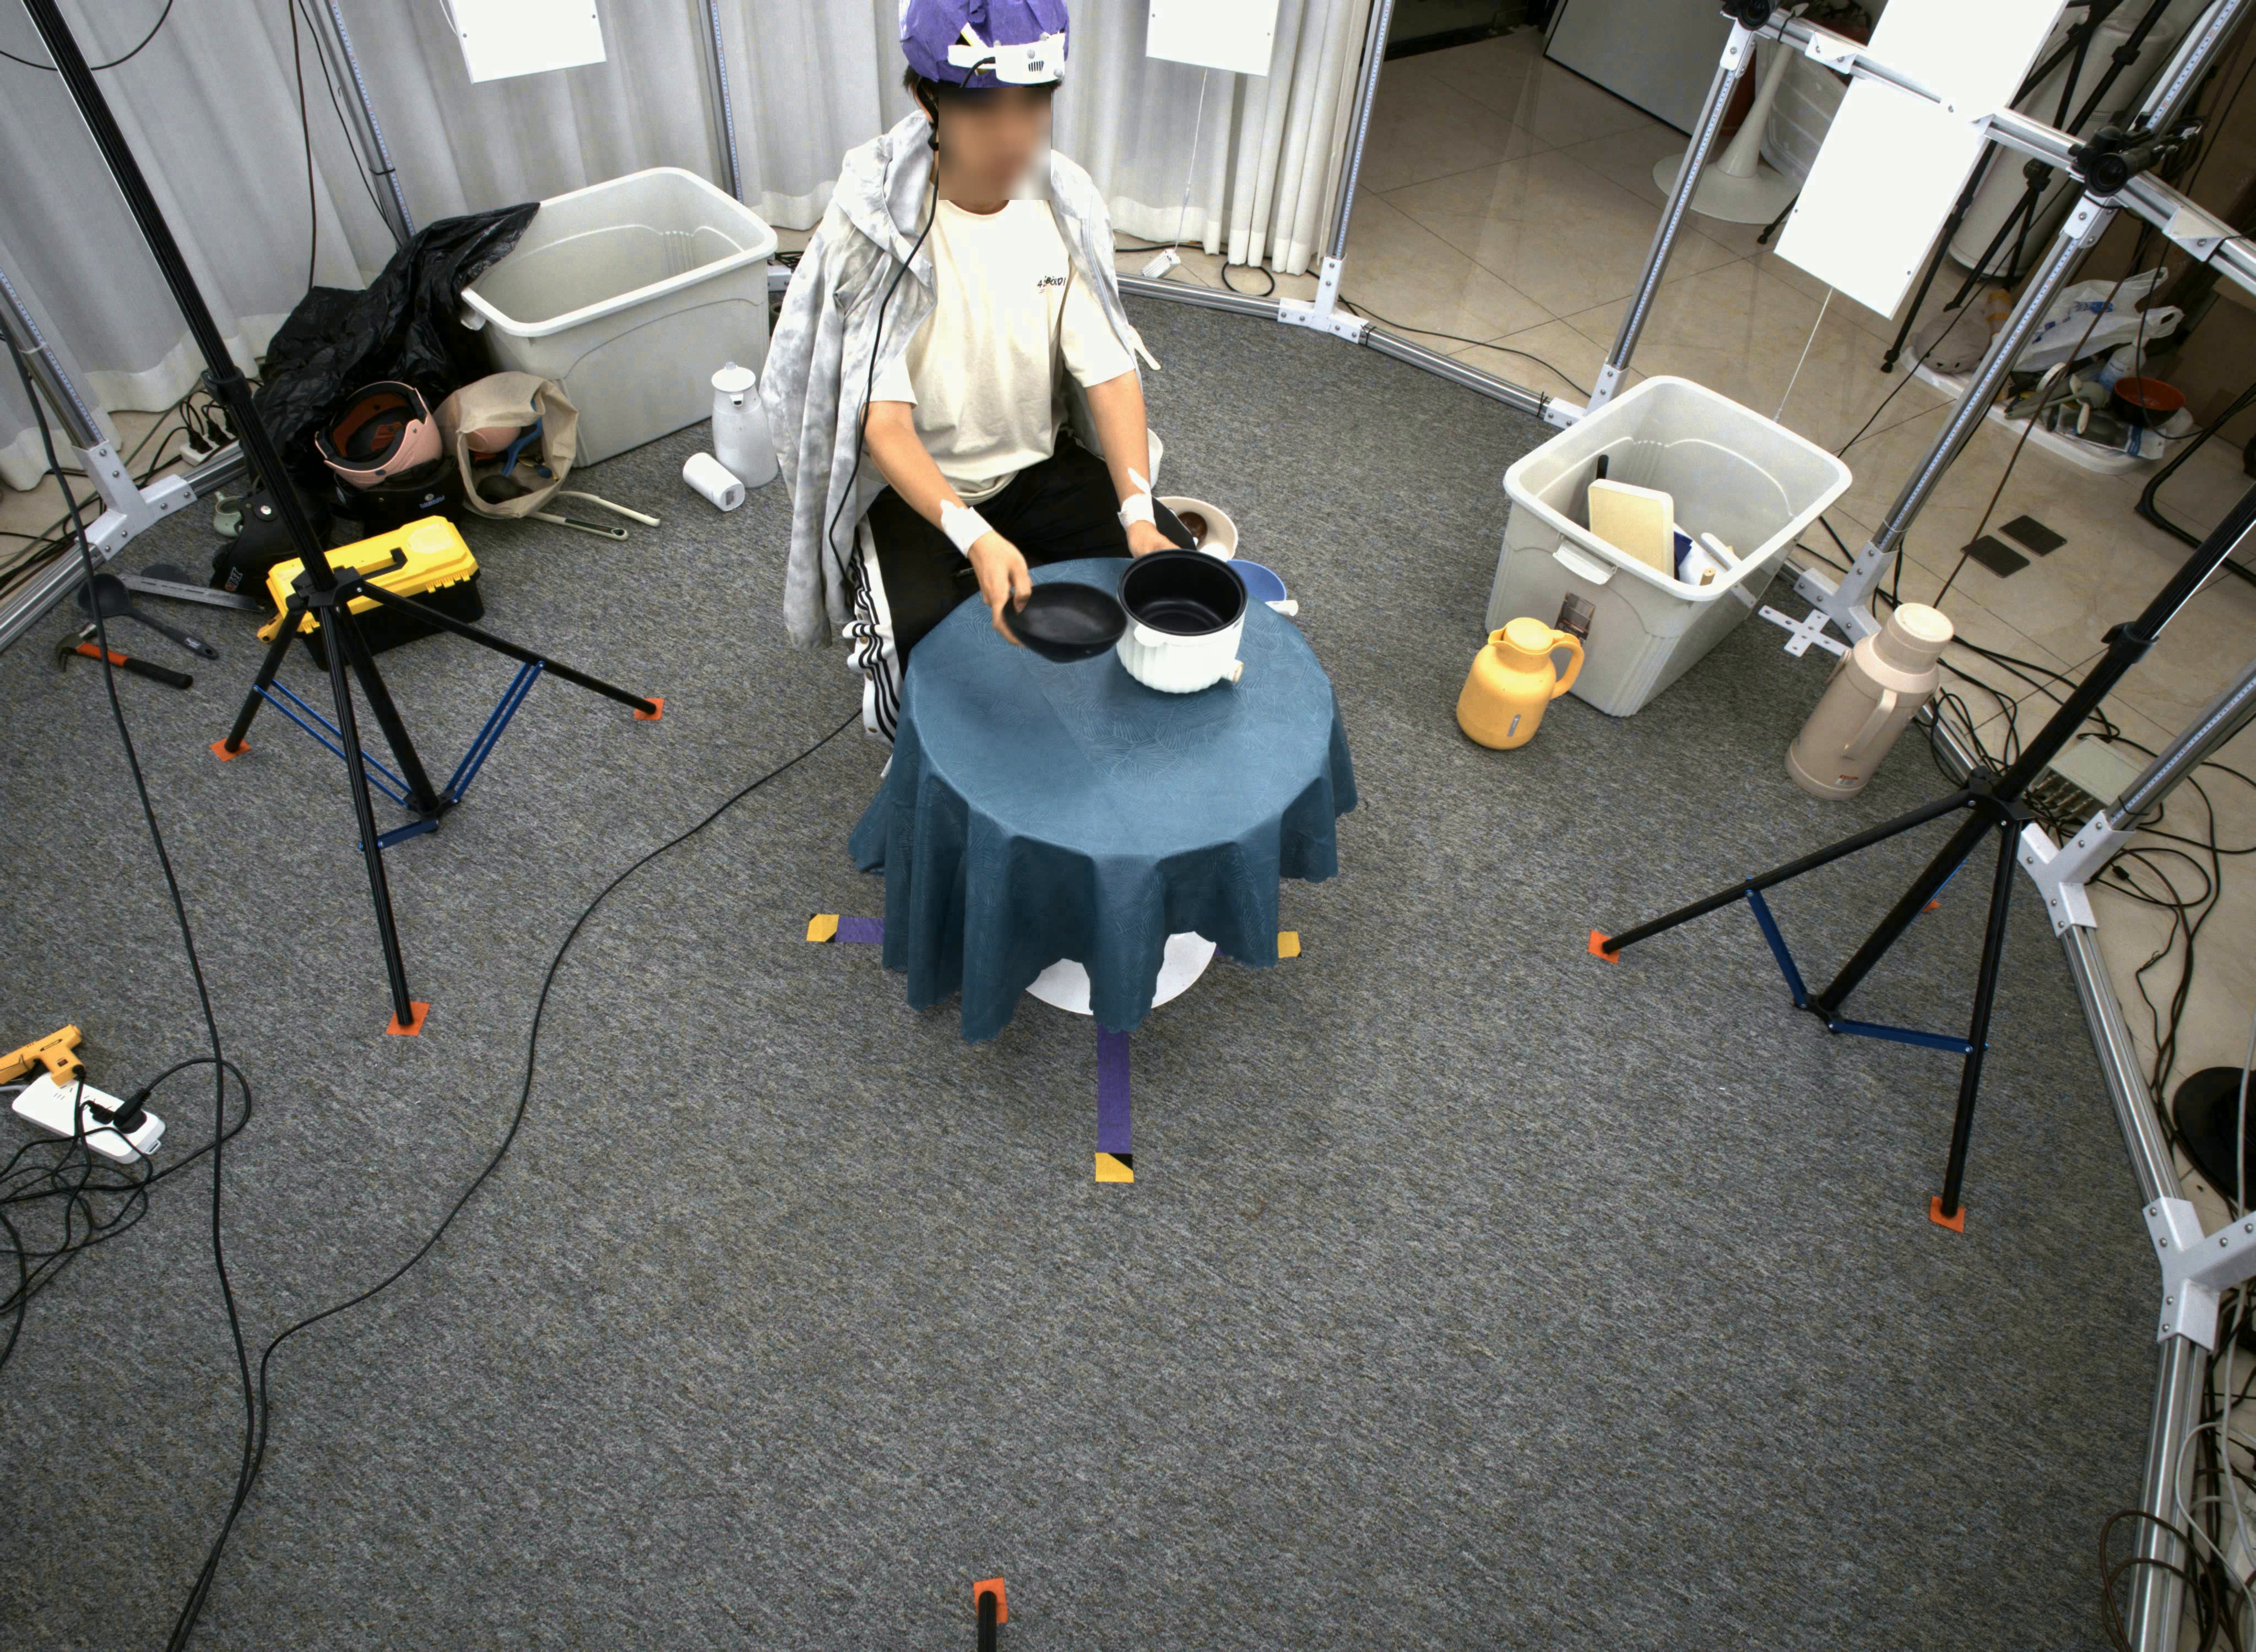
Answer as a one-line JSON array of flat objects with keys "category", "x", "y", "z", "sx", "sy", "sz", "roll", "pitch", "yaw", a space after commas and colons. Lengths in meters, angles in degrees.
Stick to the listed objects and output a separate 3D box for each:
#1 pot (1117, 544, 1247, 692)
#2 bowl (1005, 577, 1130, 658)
[{"category": "pot", "x": 0.077, "y": -0.284, "z": 1.824, "sx": 0.192, "sy": 0.139, "sz": 0.244, "roll": 21, "pitch": 51, "yaw": 18}, {"category": "bowl", "x": -0.081, "y": -0.266, "z": 1.699, "sx": 0.171, "sy": 0.065, "sz": 0.140, "roll": 14, "pitch": 44, "yaw": 14}]
